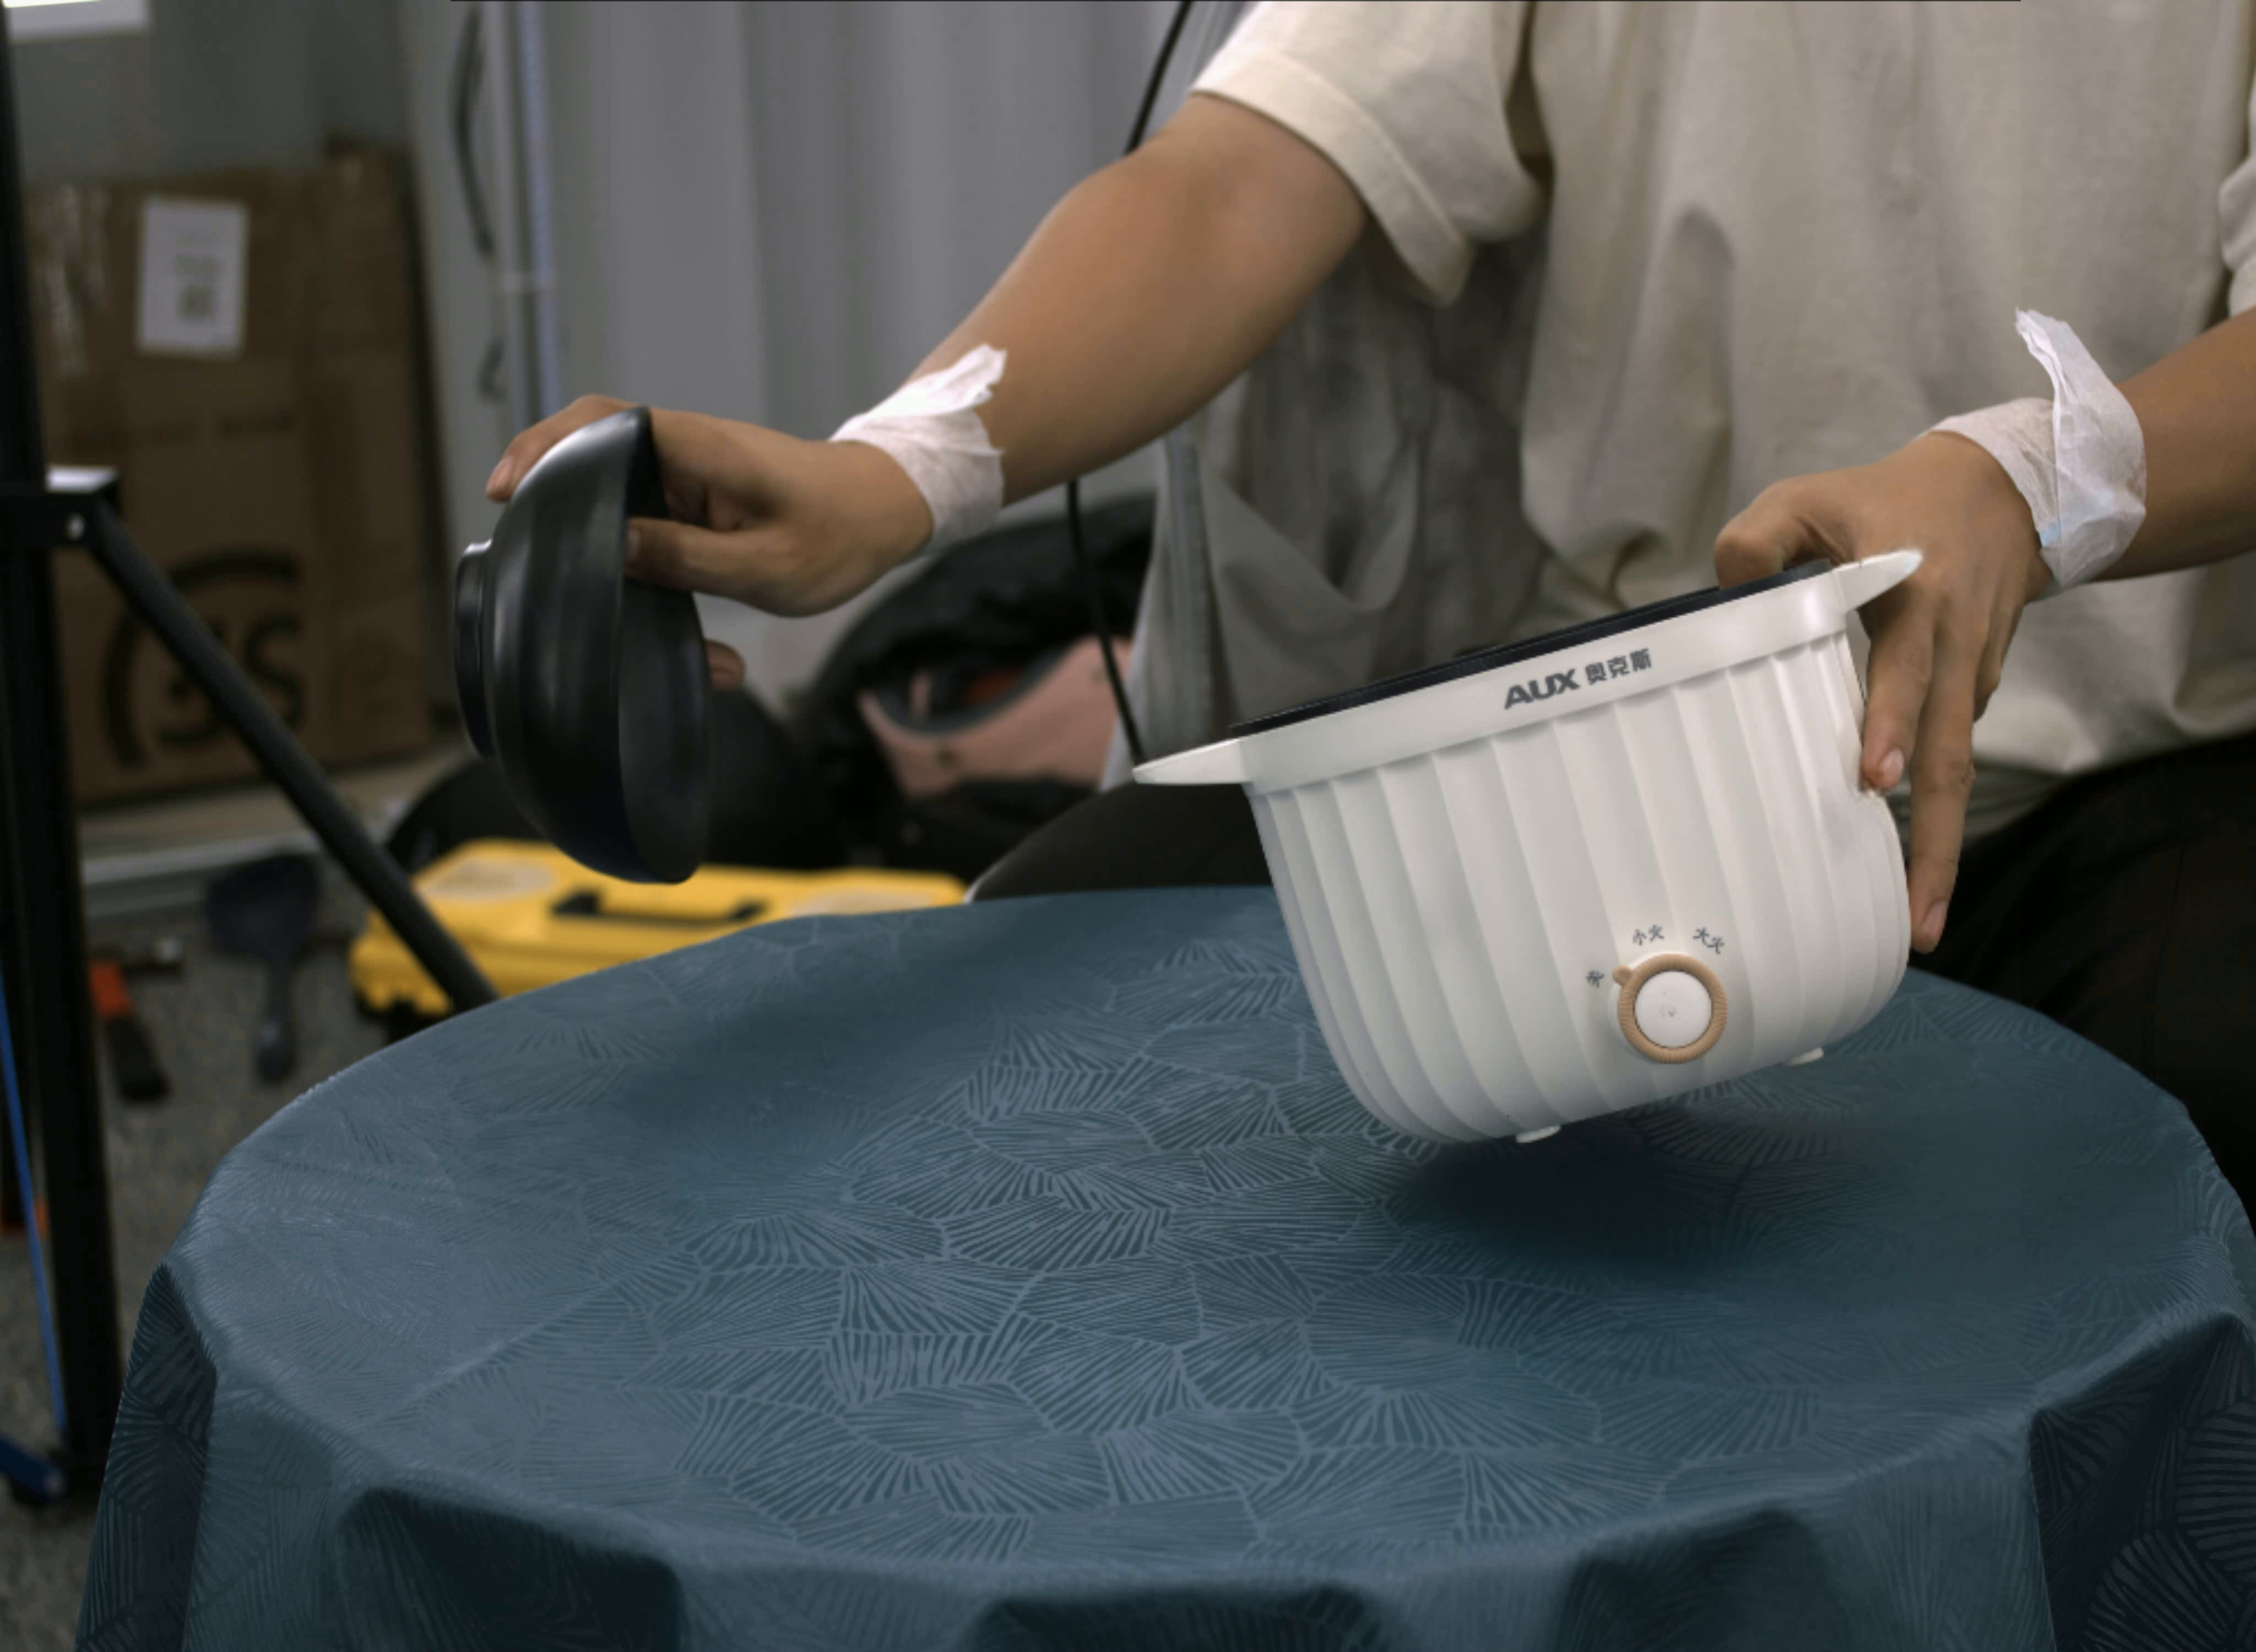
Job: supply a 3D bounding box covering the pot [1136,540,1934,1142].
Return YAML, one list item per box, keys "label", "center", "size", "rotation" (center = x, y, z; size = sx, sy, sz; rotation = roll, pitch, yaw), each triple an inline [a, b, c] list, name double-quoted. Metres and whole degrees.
- label: "pot"
  center: [0.135, 0.010, 1.525]
  size: [0.239, 0.143, 0.190]
  rotation: [-17, -3, -2]

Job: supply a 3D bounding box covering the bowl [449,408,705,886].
- label: "bowl"
  center: [-0.174, -0.057, 1.667]
  size: [0.067, 0.136, 0.172]
  rotation: [-3, 42, 5]
